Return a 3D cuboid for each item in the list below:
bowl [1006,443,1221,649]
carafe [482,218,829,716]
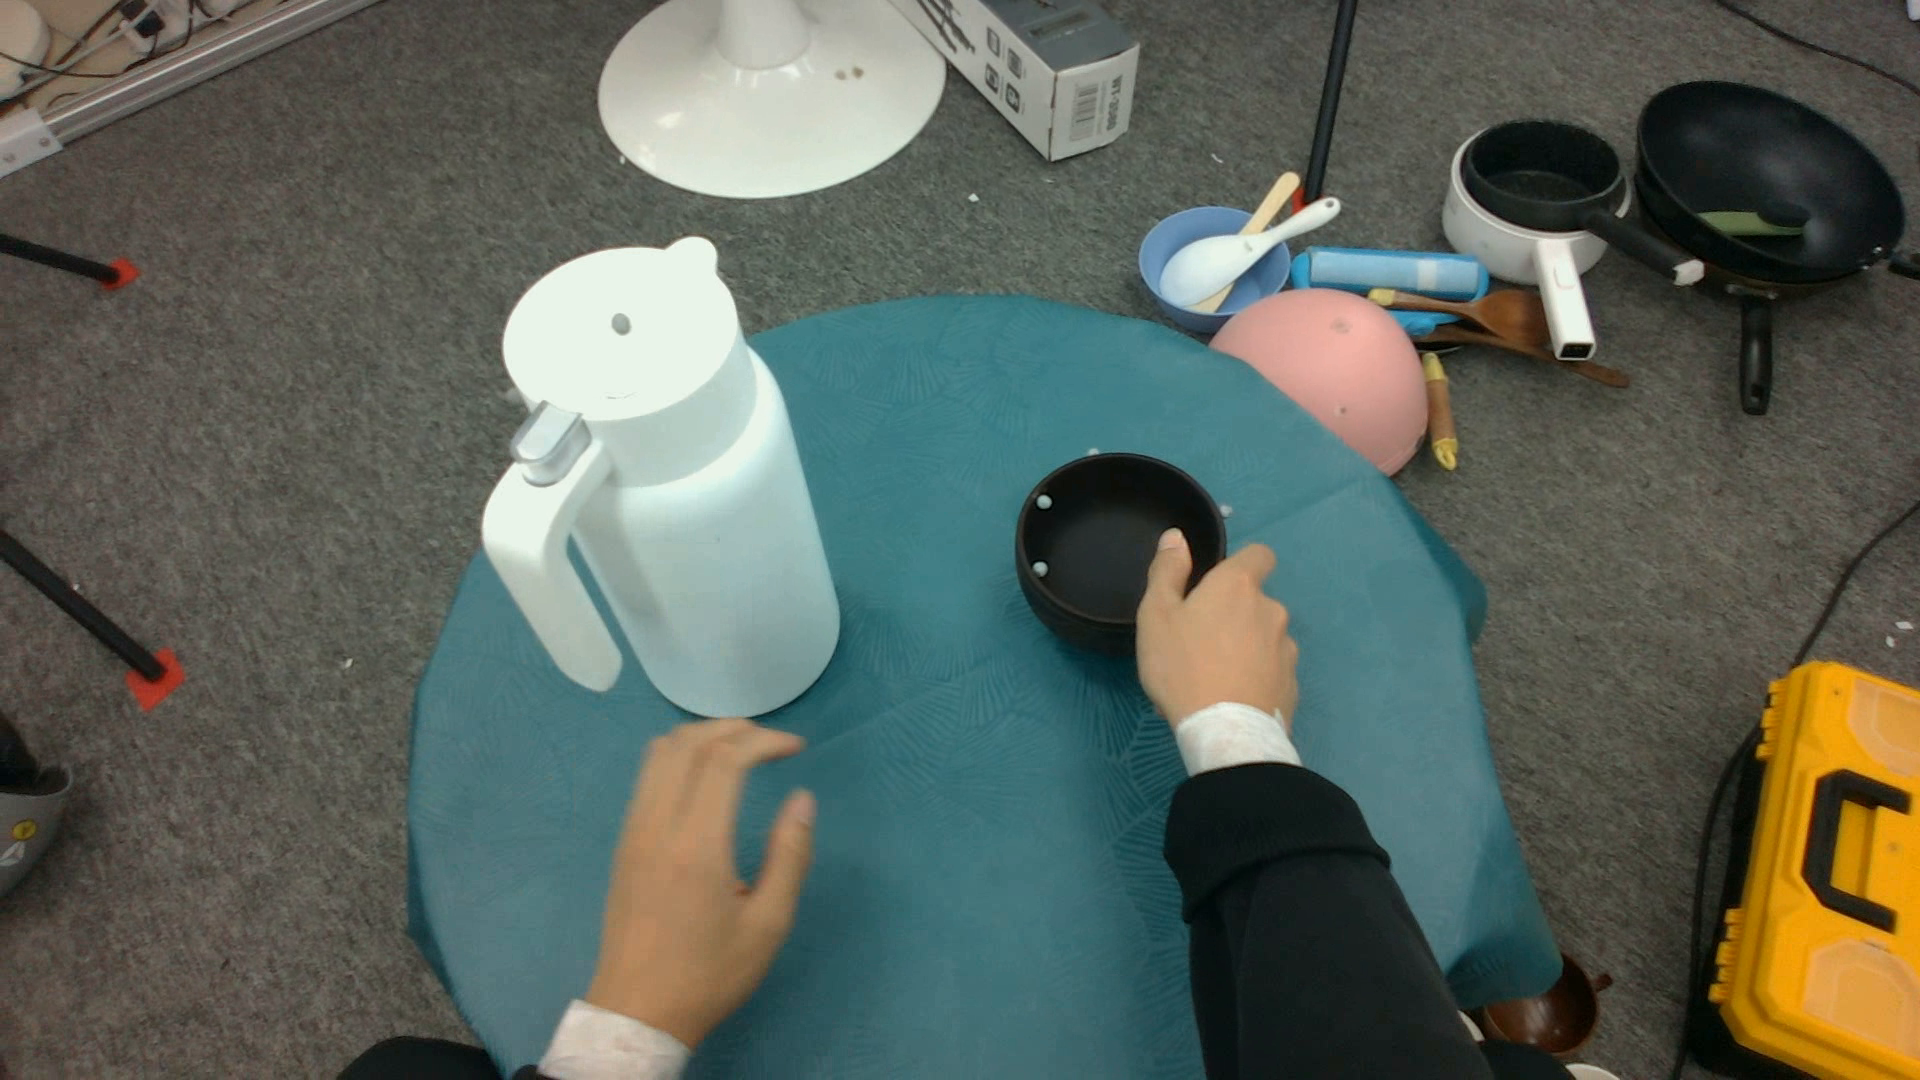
[{"bbox_3d":[0.085,0.010,0.777,0.118,0.069,0.118,-1,55,2],"label":"bowl"},{"bbox_3d":[-0.145,-0.007,0.685,0.124,0.267,0.173,18,59,12],"label":"carafe"}]
